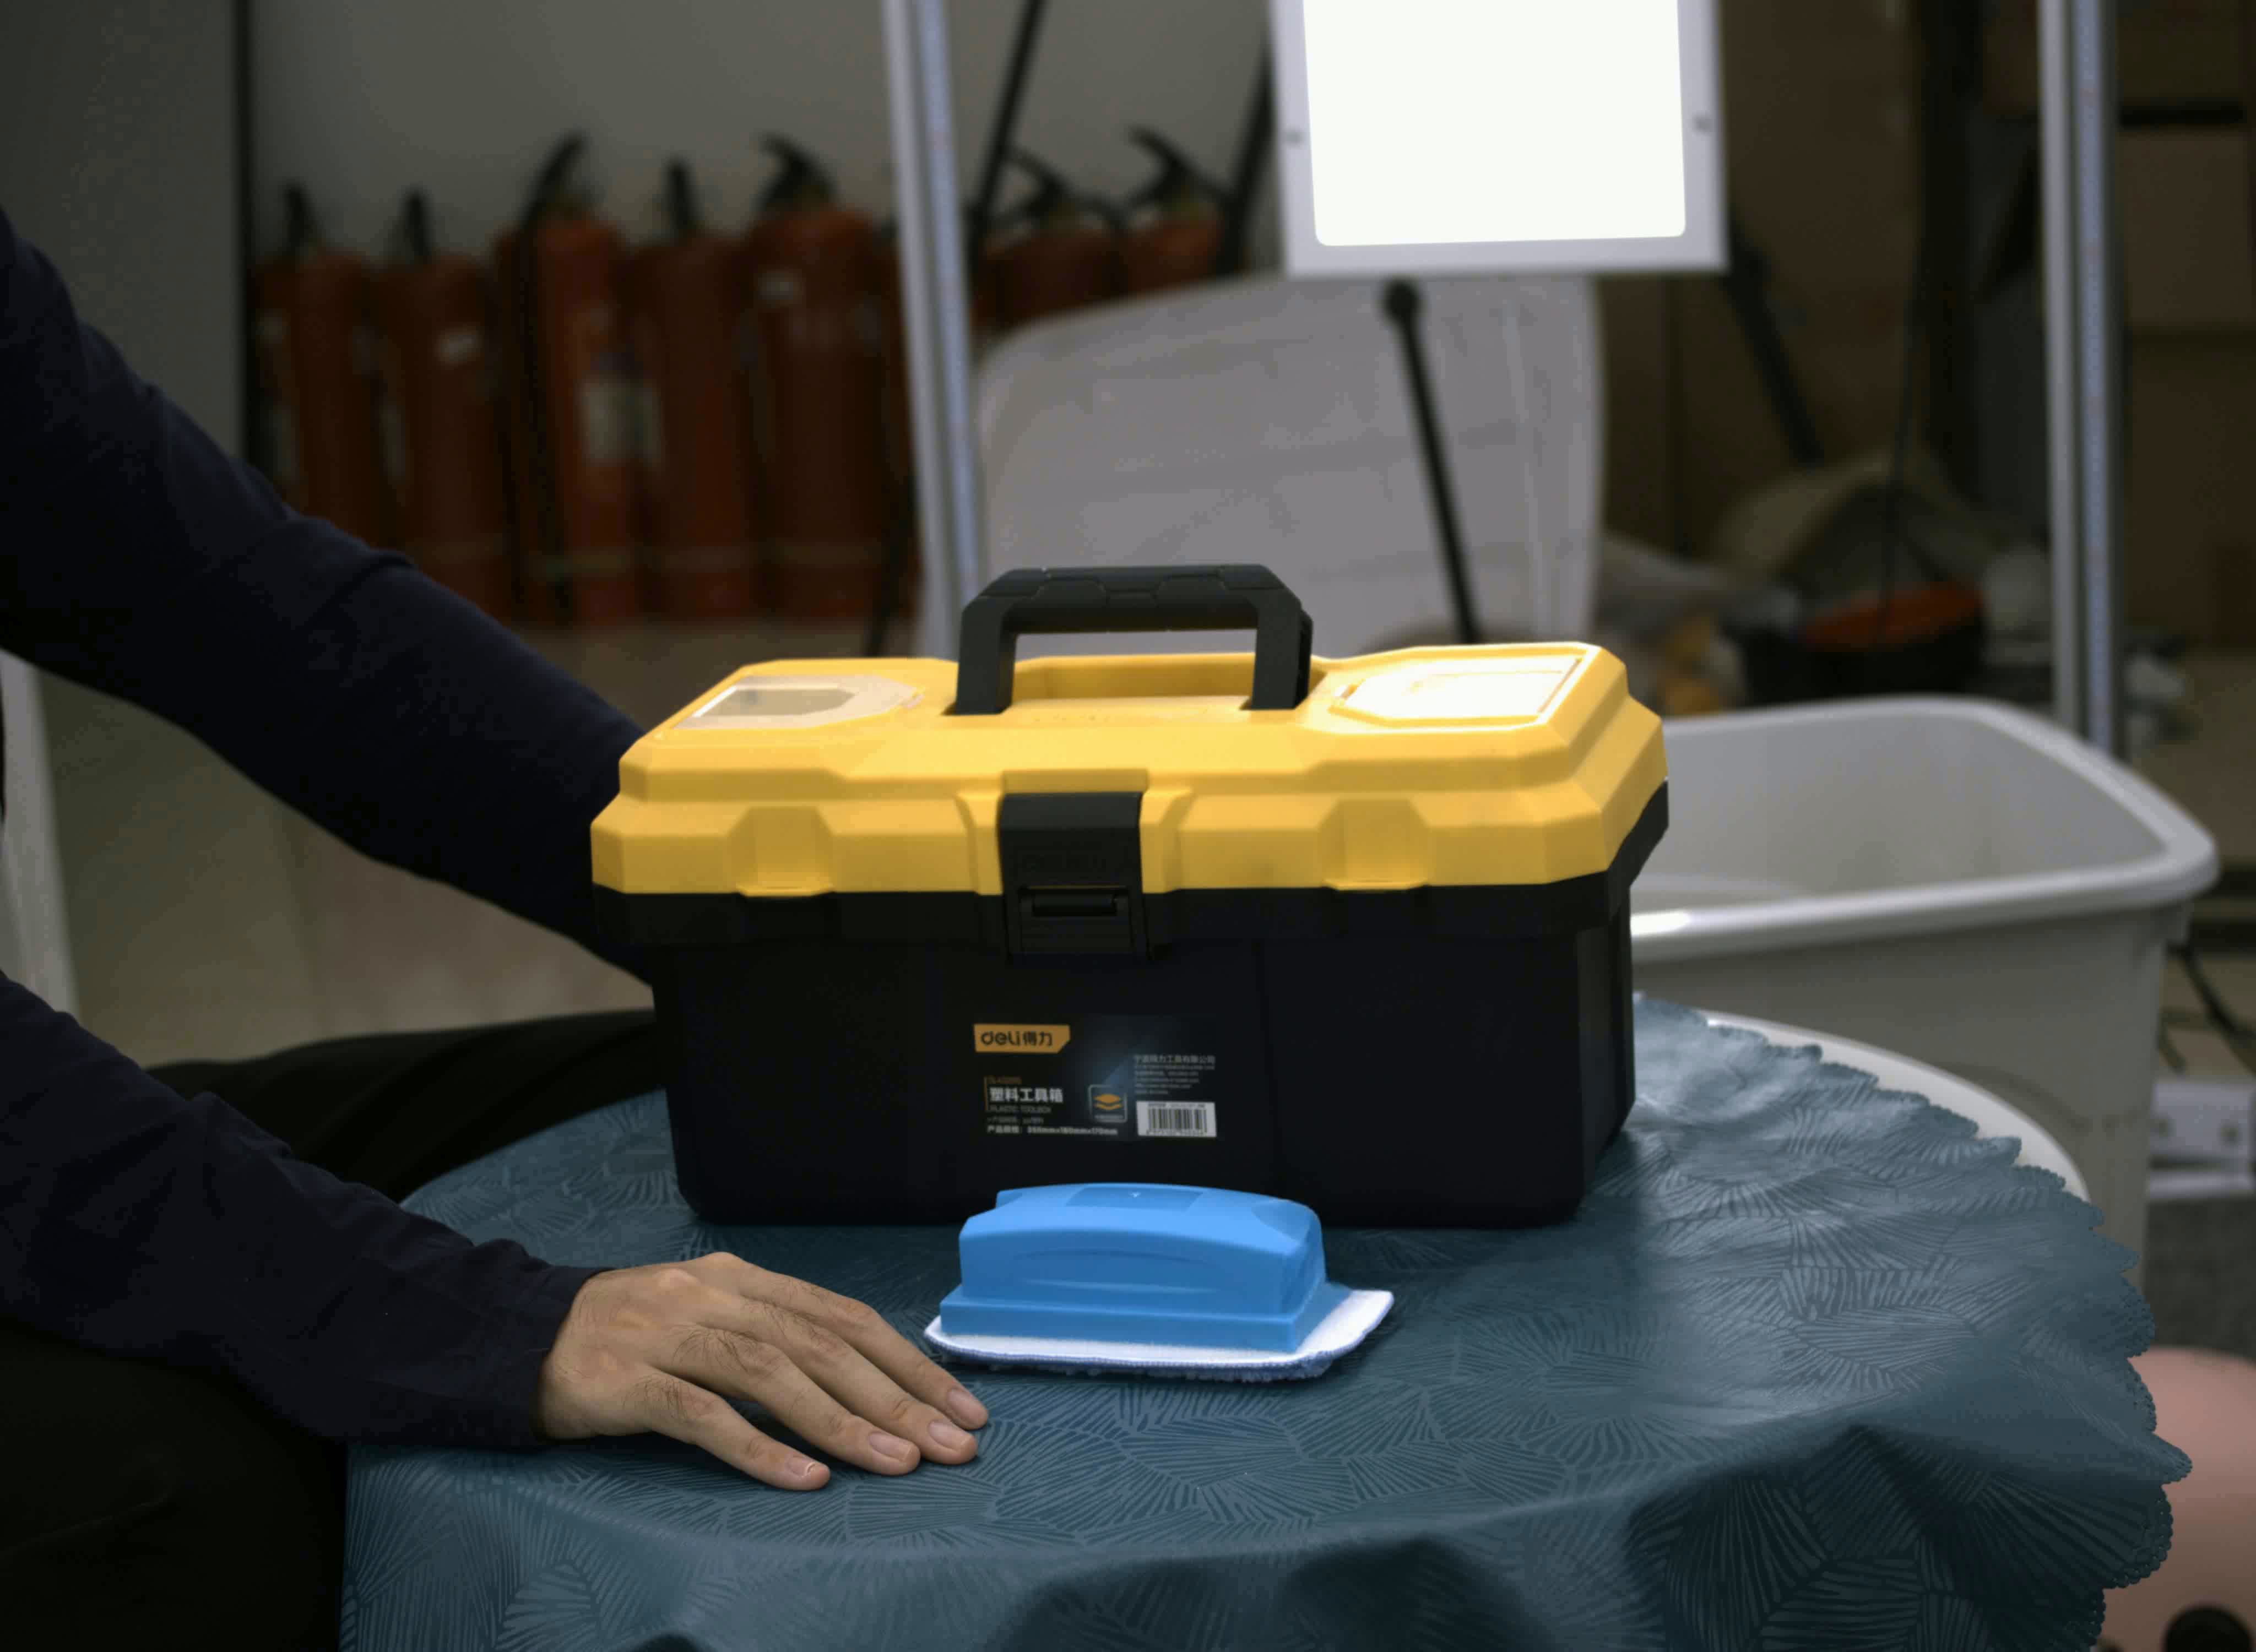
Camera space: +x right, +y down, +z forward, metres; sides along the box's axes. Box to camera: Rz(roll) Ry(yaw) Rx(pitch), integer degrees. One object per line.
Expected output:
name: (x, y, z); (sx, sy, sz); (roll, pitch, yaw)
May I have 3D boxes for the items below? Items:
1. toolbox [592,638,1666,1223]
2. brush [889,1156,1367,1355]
toolbox: (0.004, 0.037, 1.896); (0.355, 0.173, 0.178); (-1, 14, 17)
brush: (0.000, 0.135, 1.736); (0.146, 0.056, 0.082); (4, 12, 25)
